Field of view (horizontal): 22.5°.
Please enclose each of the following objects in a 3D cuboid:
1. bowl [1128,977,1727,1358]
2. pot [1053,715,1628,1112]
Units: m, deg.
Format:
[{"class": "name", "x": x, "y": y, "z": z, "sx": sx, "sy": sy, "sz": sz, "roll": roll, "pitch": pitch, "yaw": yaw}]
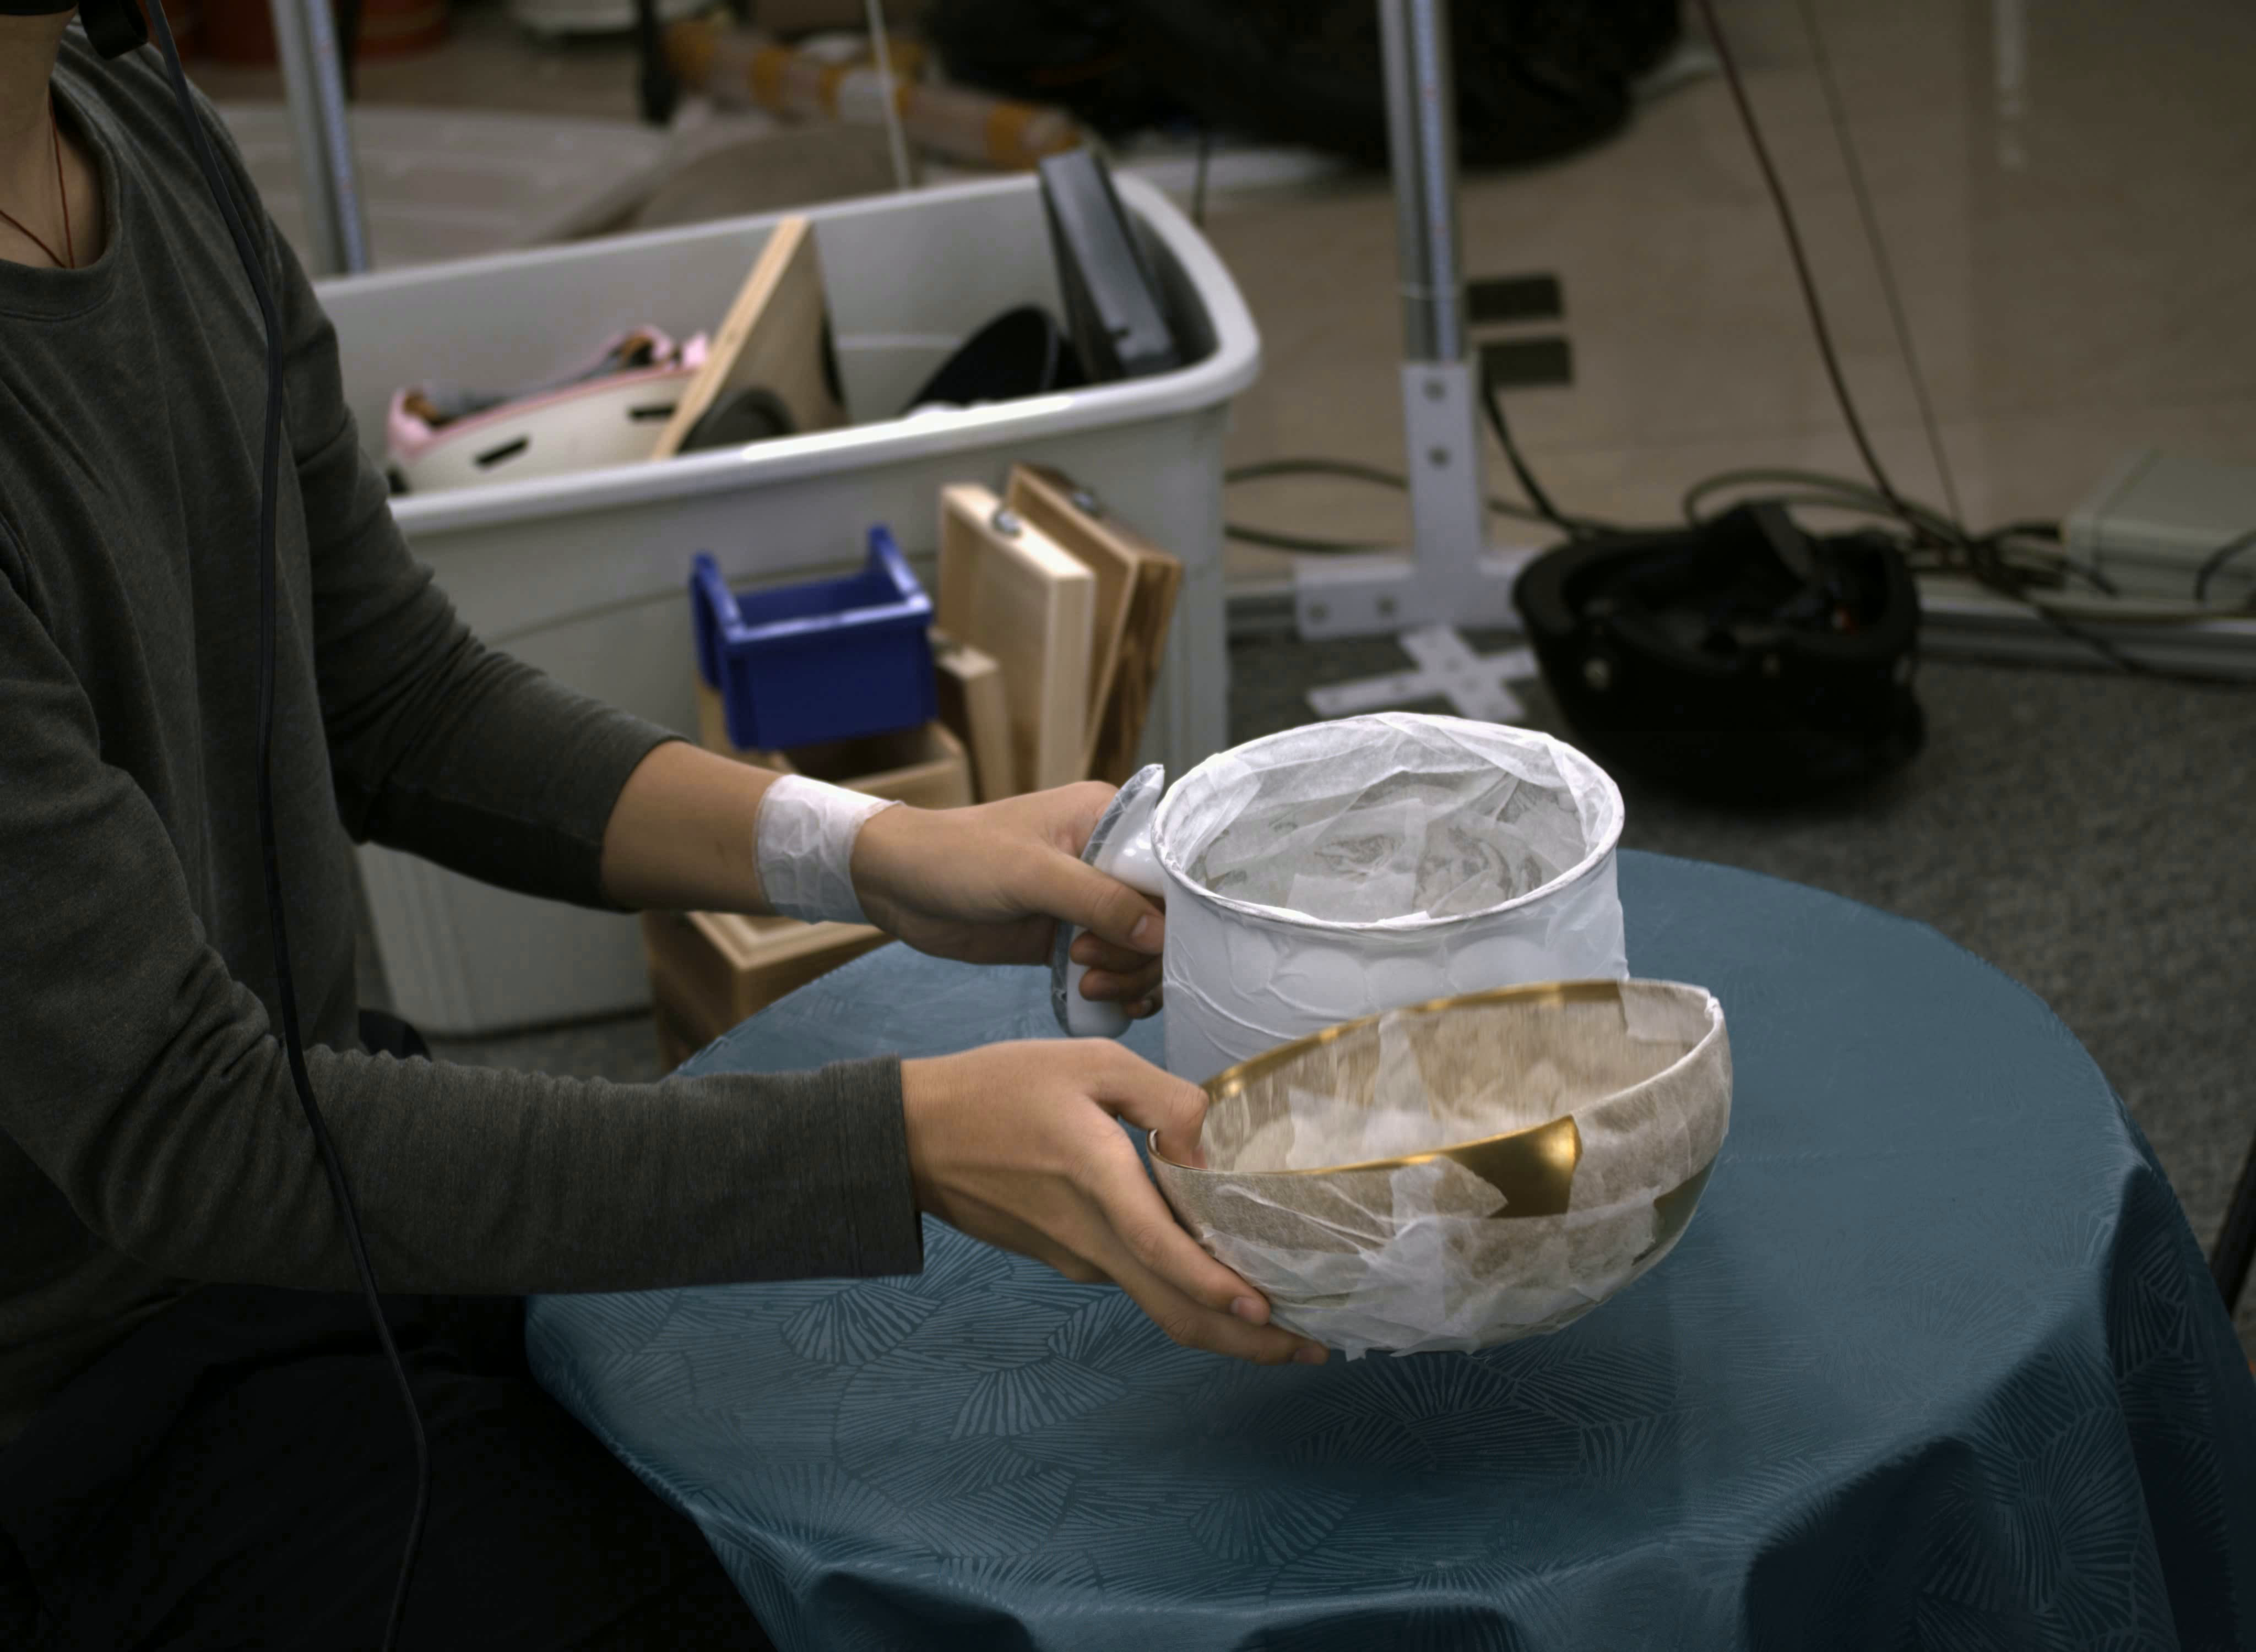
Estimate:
[{"class": "bowl", "x": 0.110, "y": 0.127, "z": 1.945, "sx": 0.214, "sy": 0.095, "sz": 0.213, "roll": -14, "pitch": 11, "yaw": 3}, {"class": "pot", "x": 0.076, "y": 0.049, "z": 2.151, "sx": 0.233, "sy": 0.139, "sz": 0.176, "roll": 9, "pitch": 29, "yaw": 25}]
